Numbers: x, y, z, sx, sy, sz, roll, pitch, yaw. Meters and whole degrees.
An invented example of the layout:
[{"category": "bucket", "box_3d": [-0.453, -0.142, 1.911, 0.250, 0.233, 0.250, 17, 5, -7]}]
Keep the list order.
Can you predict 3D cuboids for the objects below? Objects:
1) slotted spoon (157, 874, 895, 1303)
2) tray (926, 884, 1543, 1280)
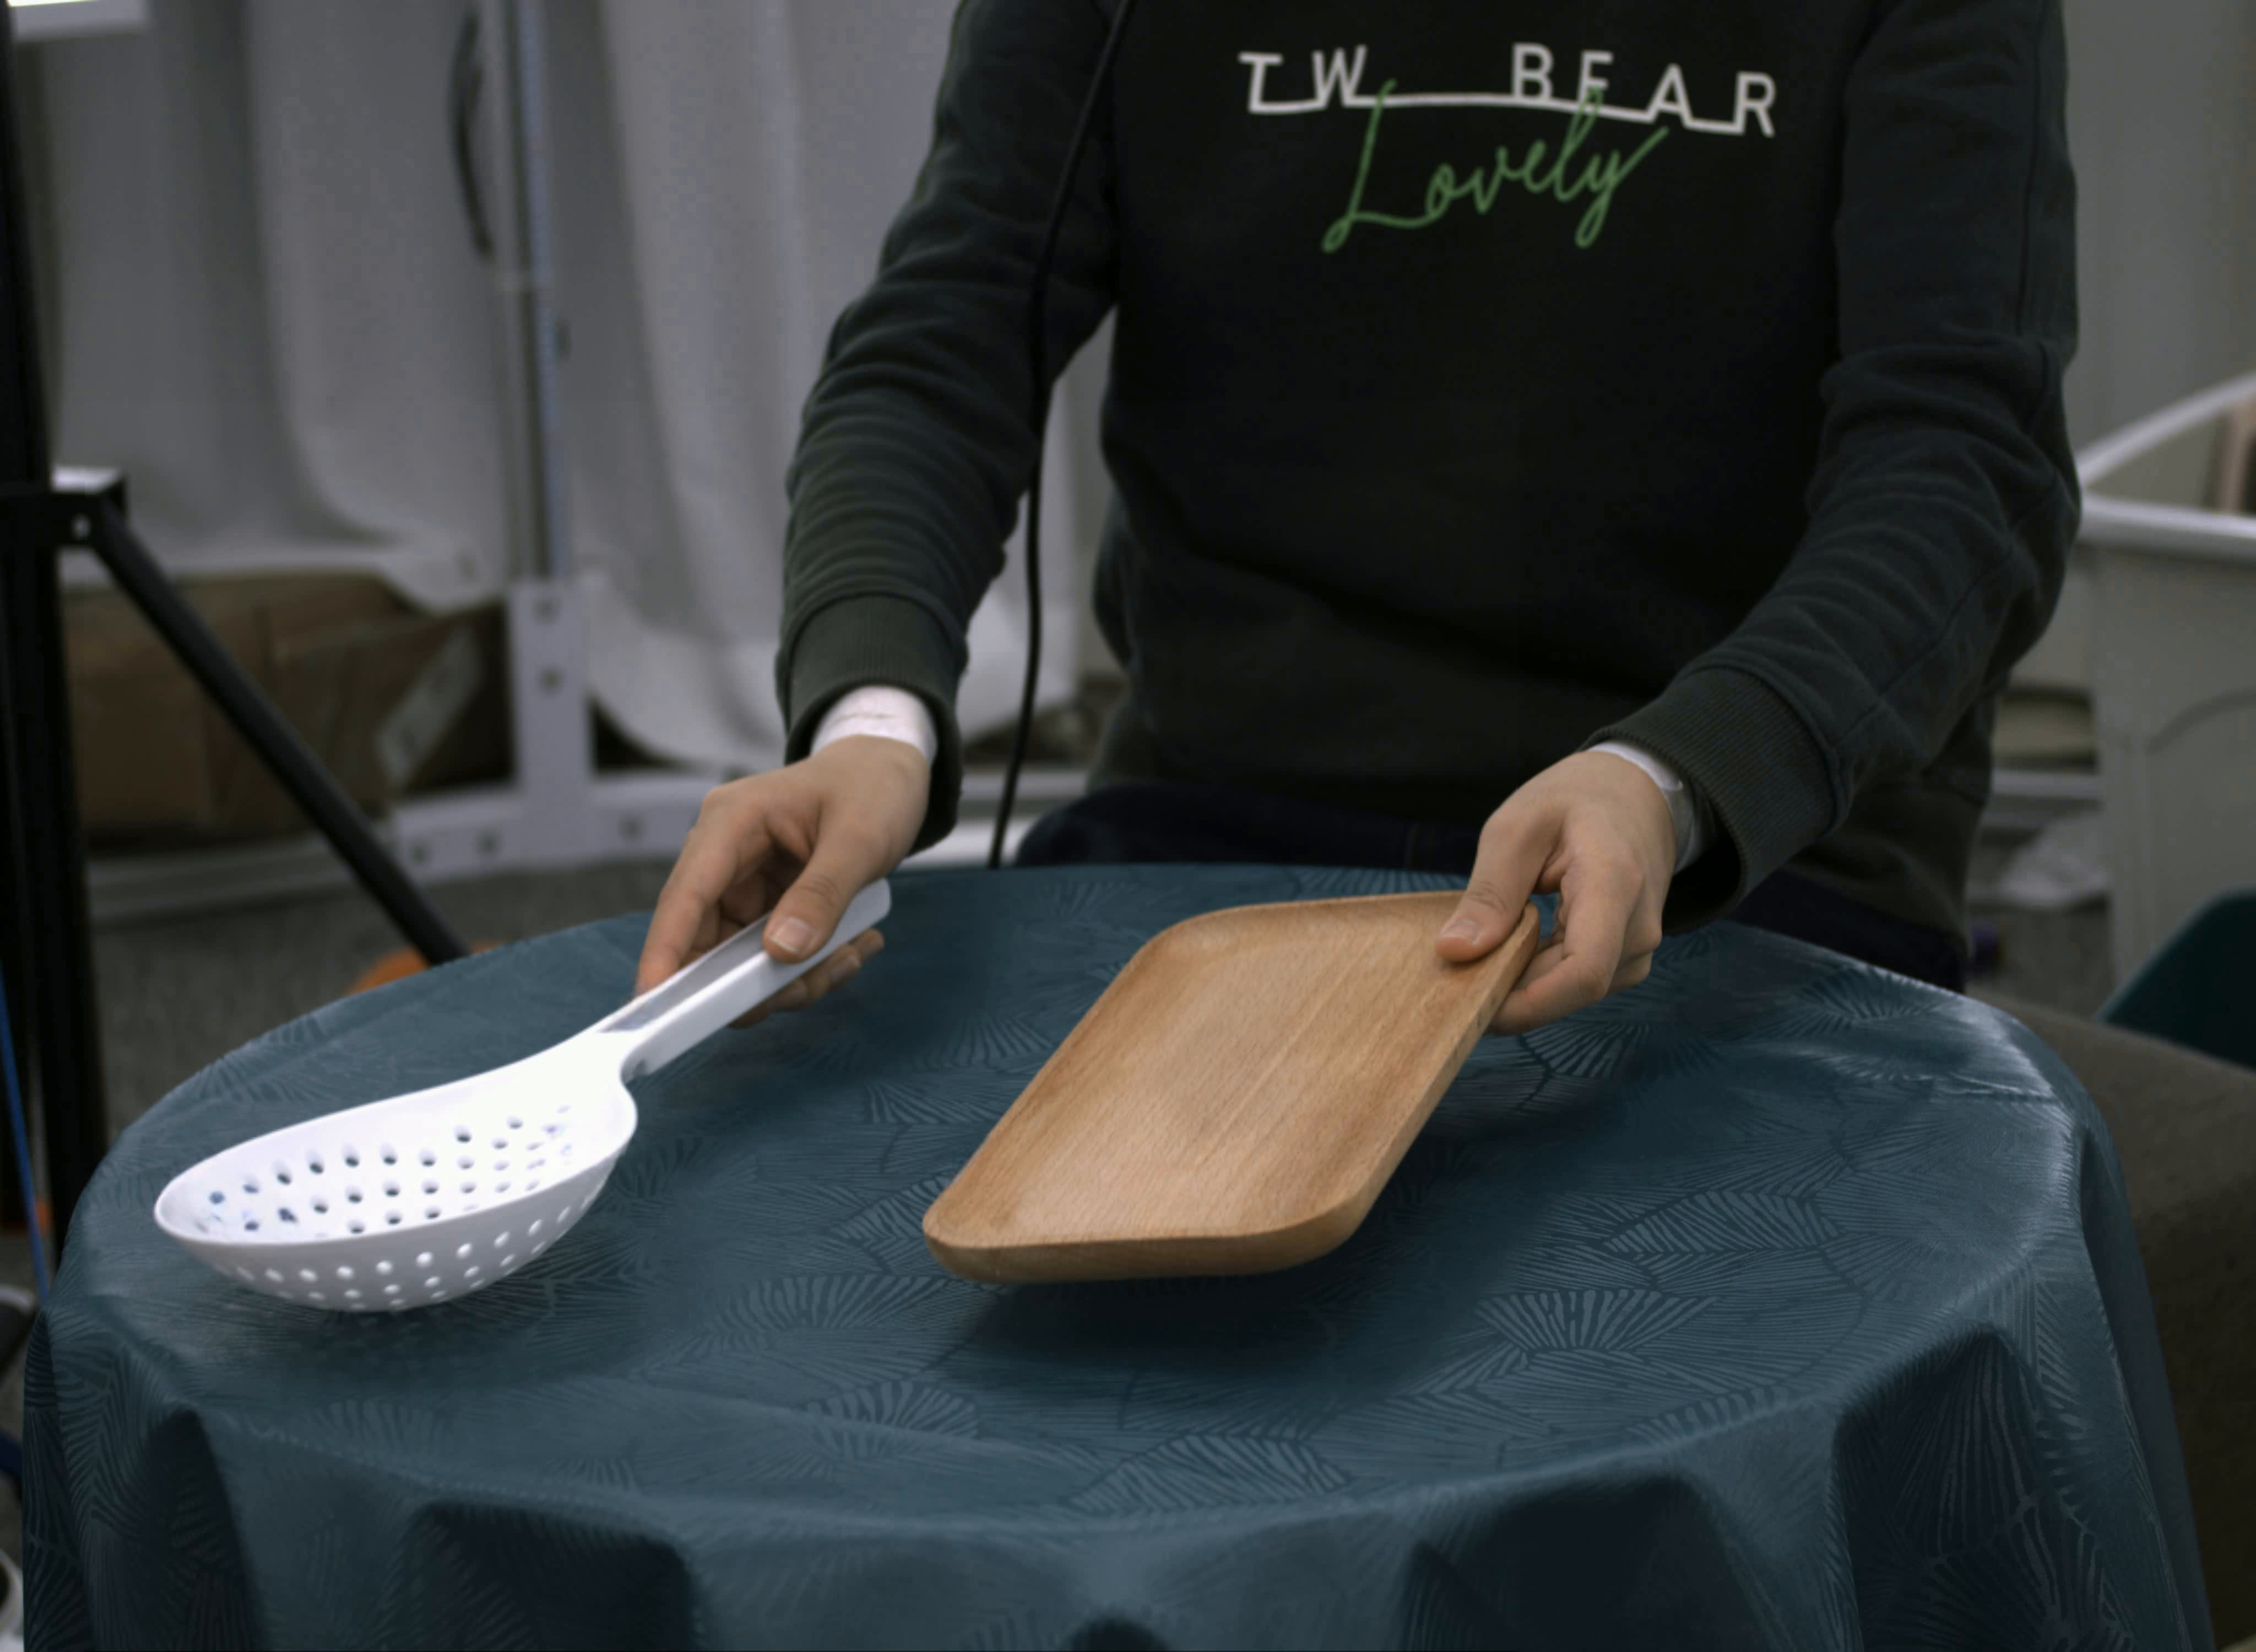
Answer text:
[{"category": "slotted spoon", "box_3d": [-0.158, 0.070, 1.586, 0.138, 0.045, 0.345, -2, 20, 26]}, {"category": "tray", "box_3d": [0.035, 0.071, 1.524, 0.132, 0.023, 0.248, -3, 19, 21]}]
